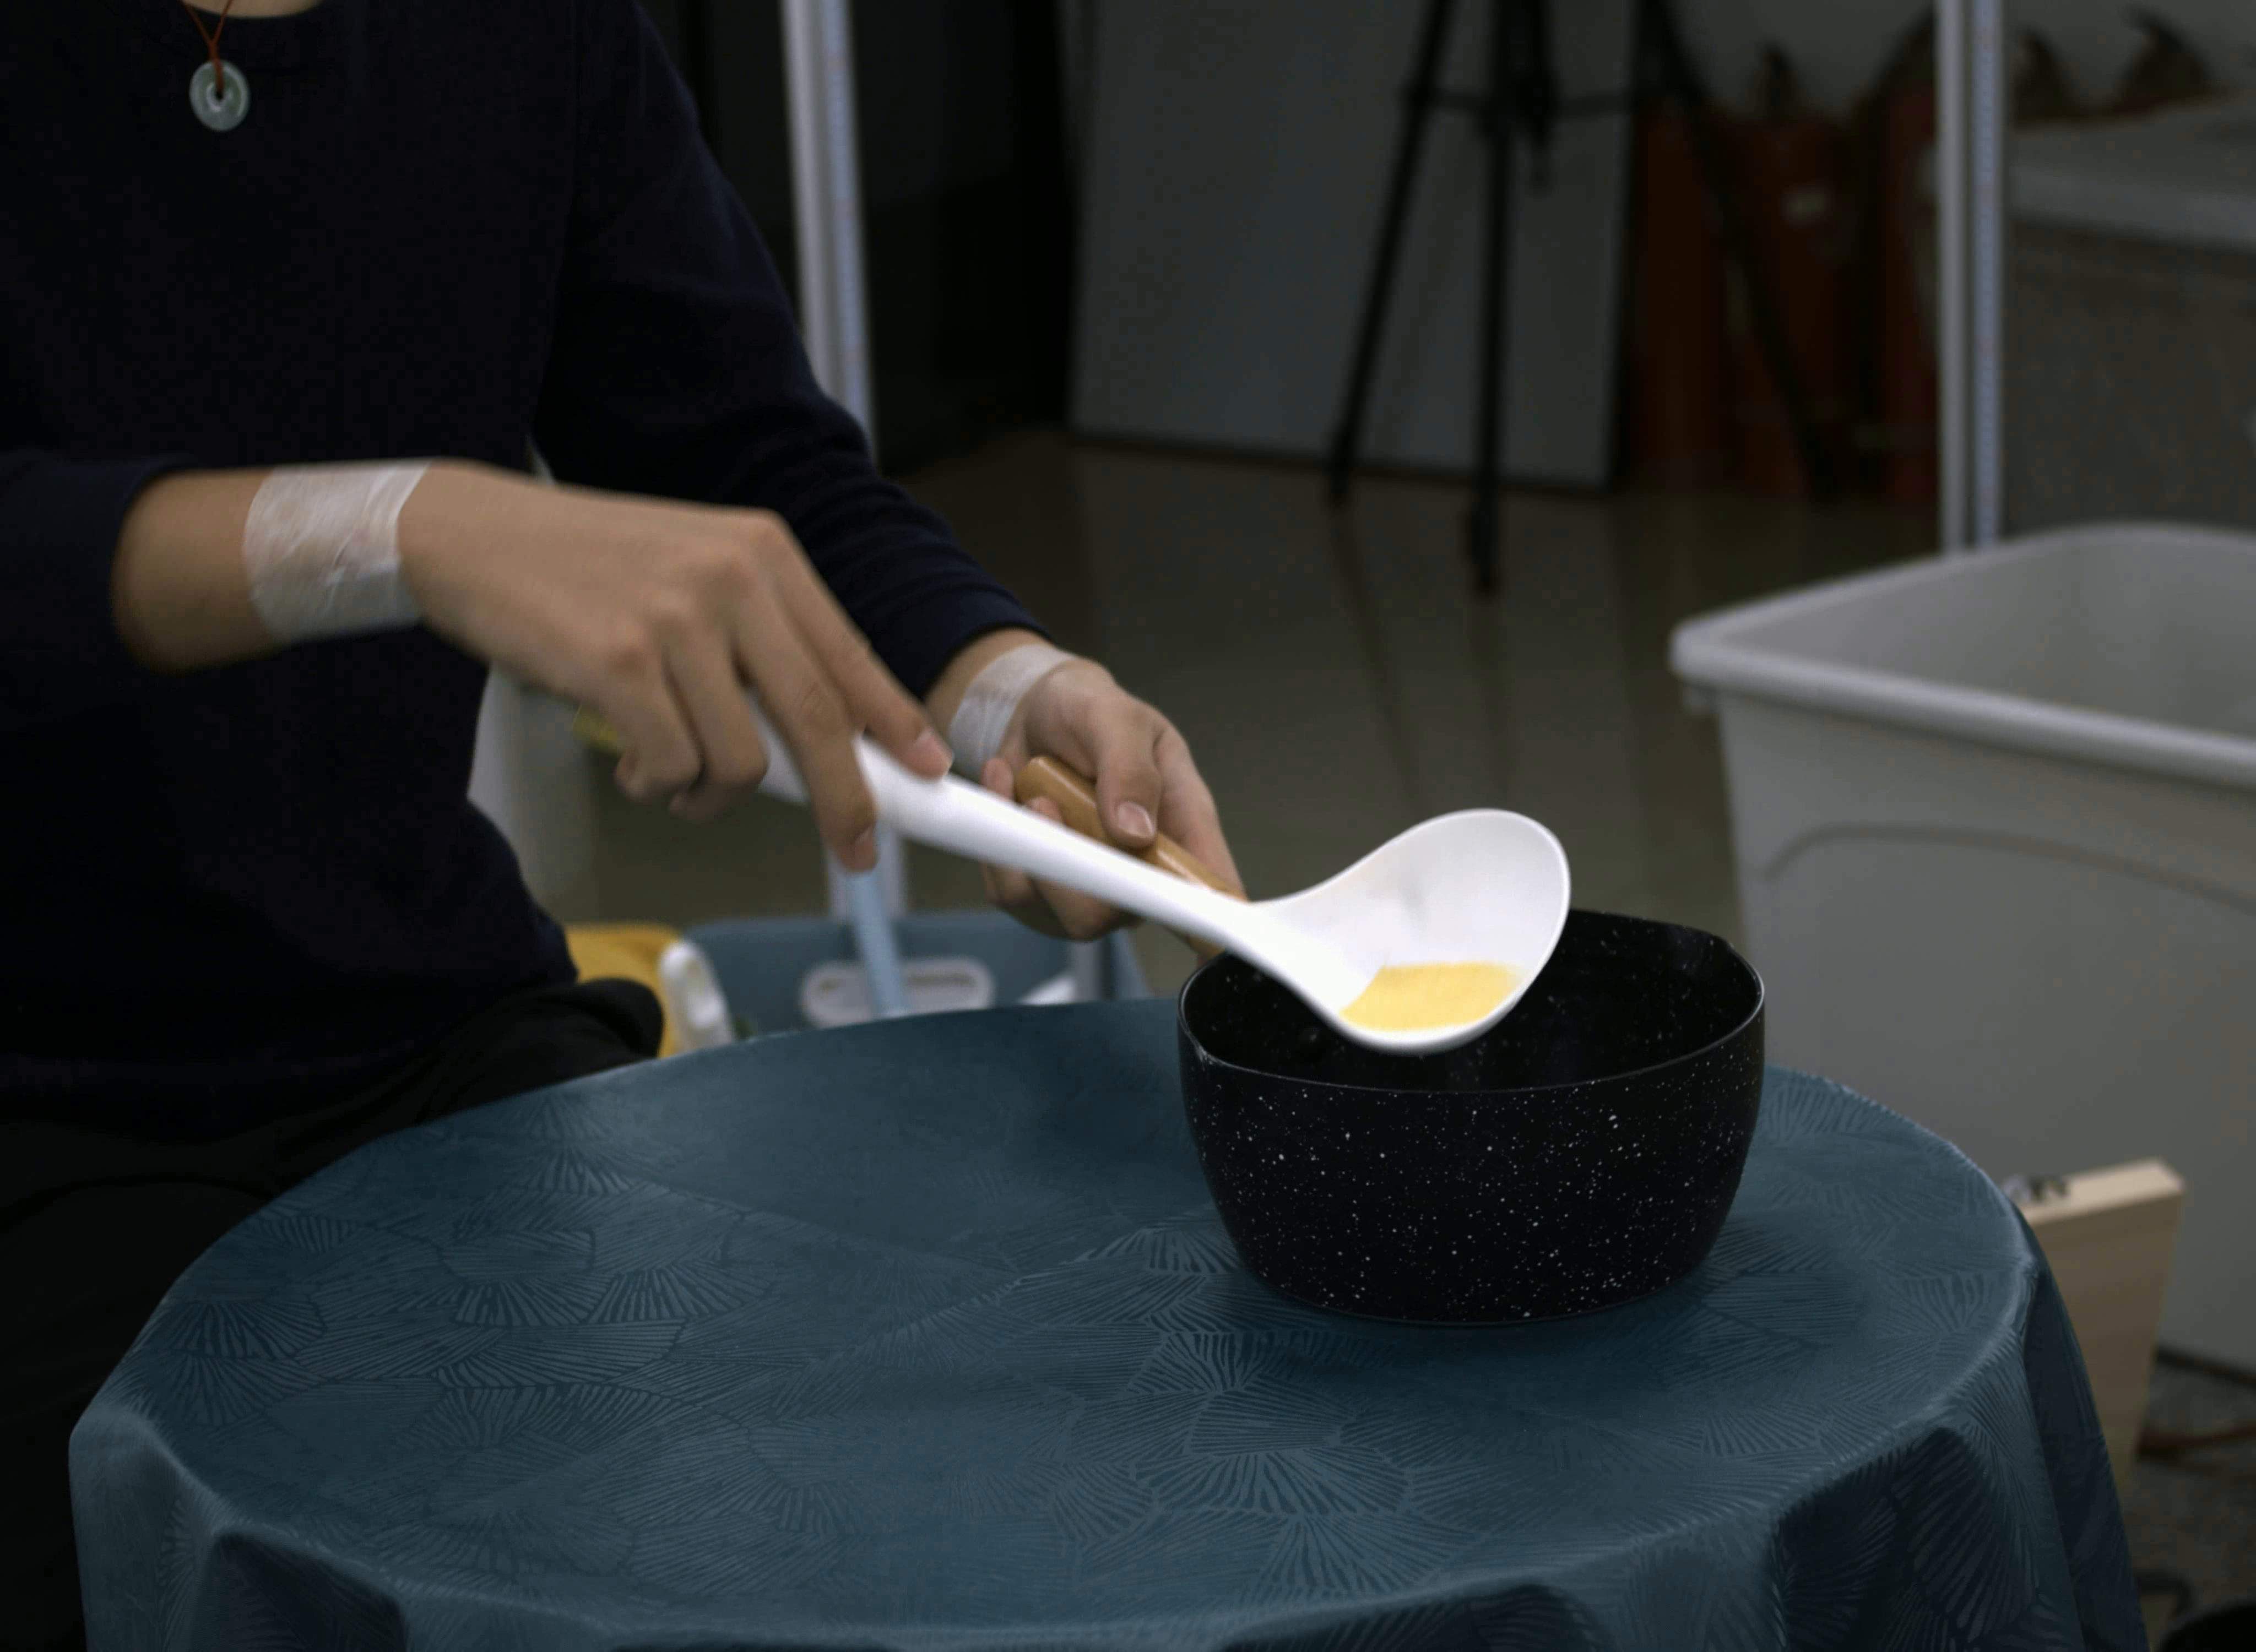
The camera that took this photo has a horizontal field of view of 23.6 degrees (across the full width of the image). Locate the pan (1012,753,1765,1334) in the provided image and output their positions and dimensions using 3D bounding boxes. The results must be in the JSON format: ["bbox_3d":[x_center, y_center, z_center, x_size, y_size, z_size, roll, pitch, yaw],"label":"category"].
[{"bbox_3d":[0.062,0.064,1.737,0.203,0.109,0.346,-14,20,-32],"label":"pan"}]

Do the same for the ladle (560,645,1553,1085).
[{"bbox_3d":[-0.022,0.001,1.555,0.290,0.090,0.070,20,-30,2],"label":"ladle"}]
